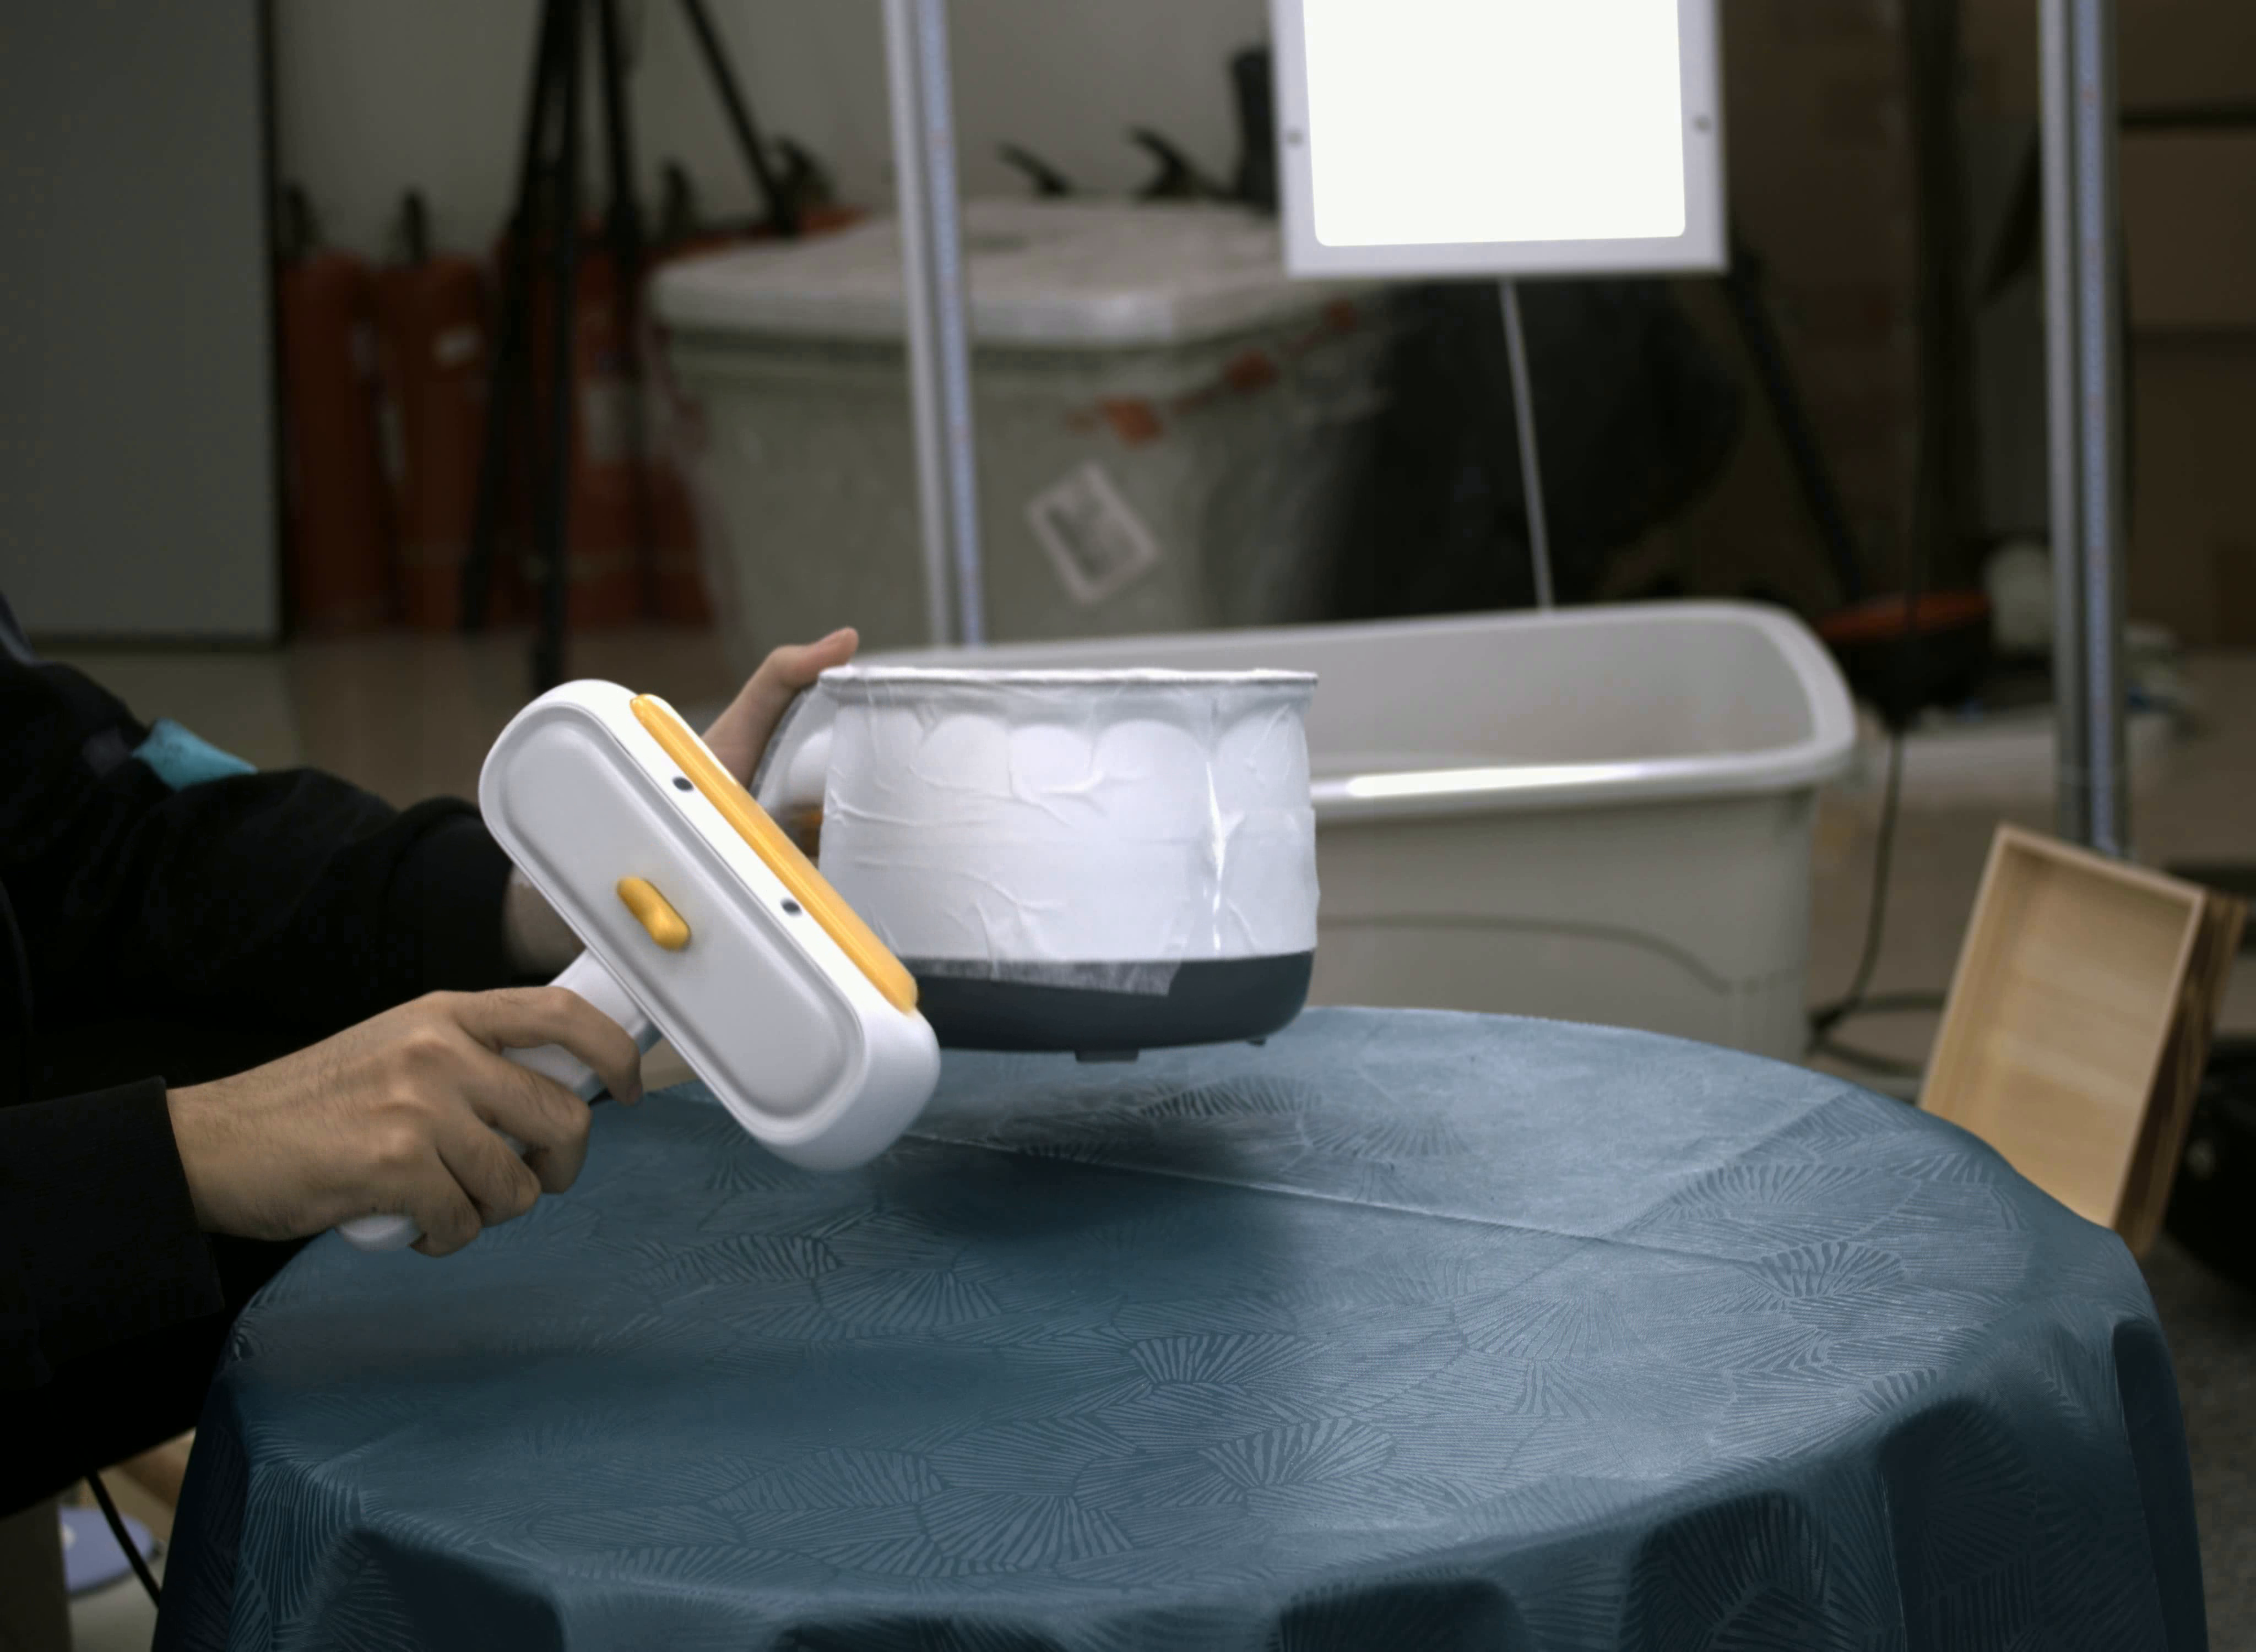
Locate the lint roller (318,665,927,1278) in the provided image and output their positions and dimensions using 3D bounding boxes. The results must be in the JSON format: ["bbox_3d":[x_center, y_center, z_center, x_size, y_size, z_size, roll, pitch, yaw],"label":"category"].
[{"bbox_3d":[-0.184,0.068,1.791,0.194,0.193,0.073,42,5,20],"label":"lint roller"}]

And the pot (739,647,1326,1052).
[{"bbox_3d":[-0.045,0.006,1.949,0.238,0.137,0.174,2,1,33],"label":"pot"}]
